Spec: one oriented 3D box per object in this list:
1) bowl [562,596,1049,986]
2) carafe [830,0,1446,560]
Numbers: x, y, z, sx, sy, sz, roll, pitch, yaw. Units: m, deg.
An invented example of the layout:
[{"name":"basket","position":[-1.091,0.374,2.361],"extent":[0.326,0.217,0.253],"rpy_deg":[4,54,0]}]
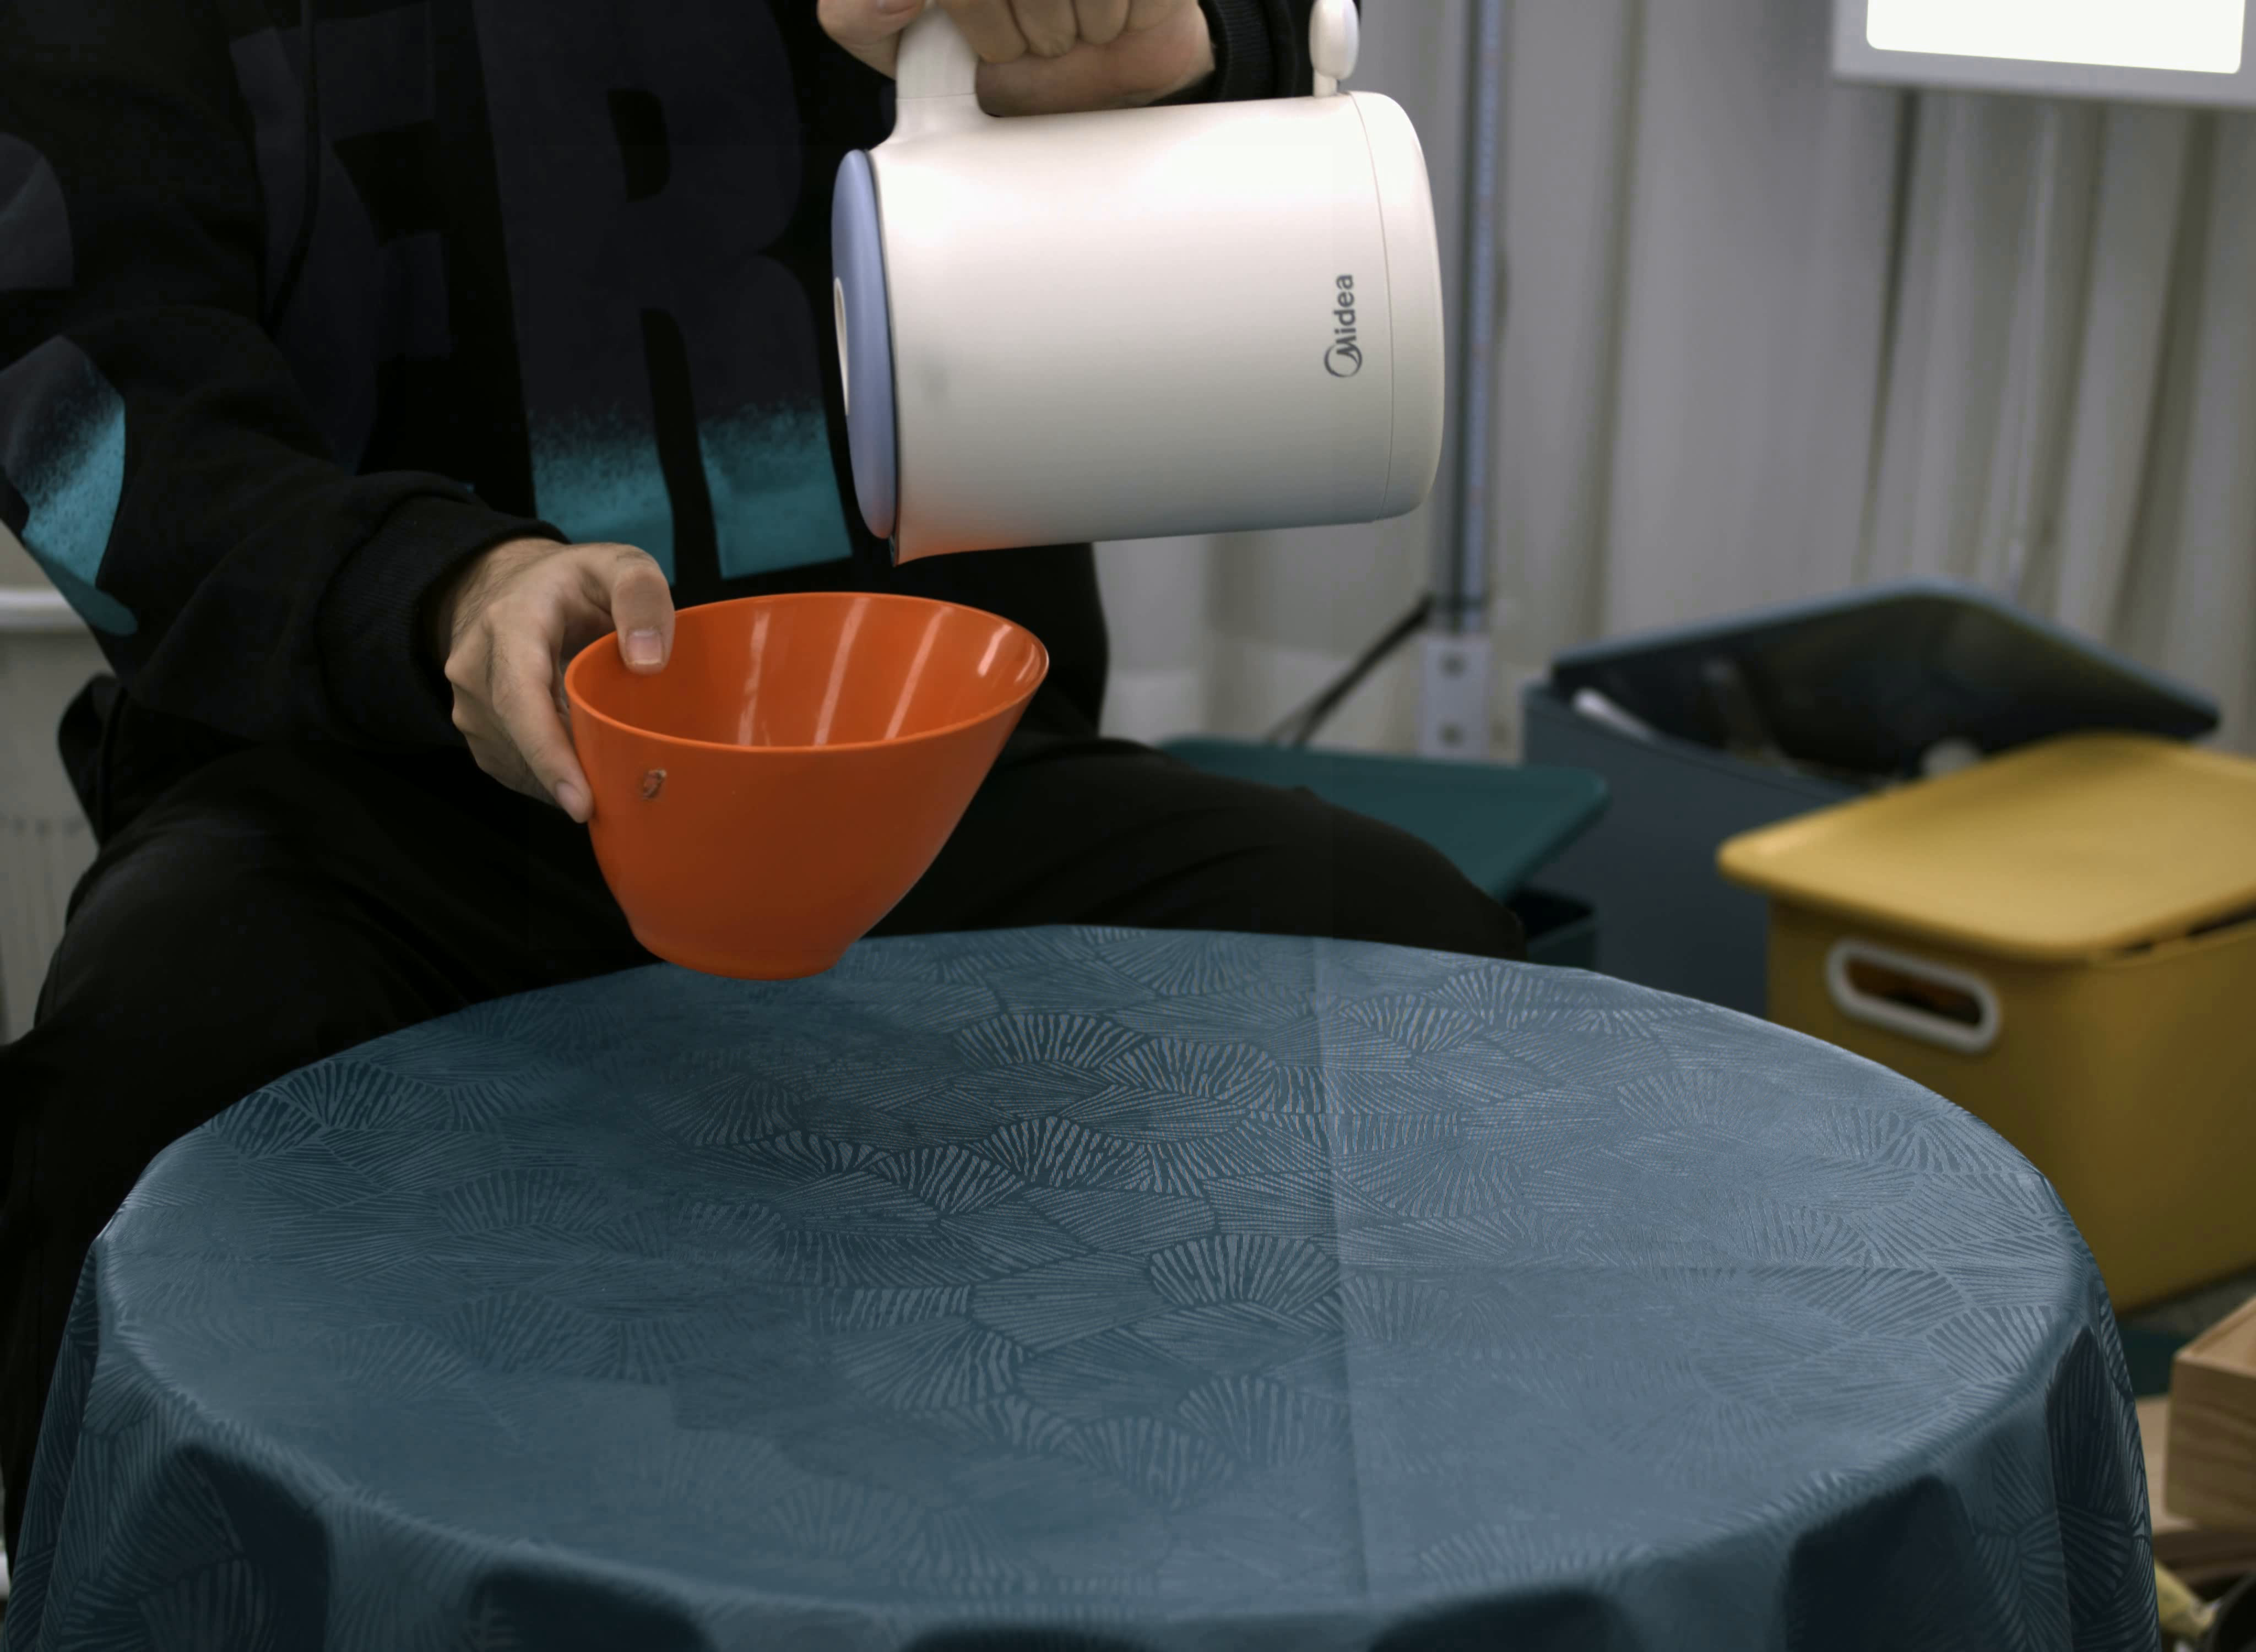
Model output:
[{"name":"bowl","position":[-0.105,-0.010,1.625],"extent":[0.148,0.105,0.147],"rpy_deg":[9,19,-3]},{"name":"carafe","position":[0.002,-0.178,1.593],"extent":[0.182,0.192,0.131],"rpy_deg":[-2,9,-8]}]
